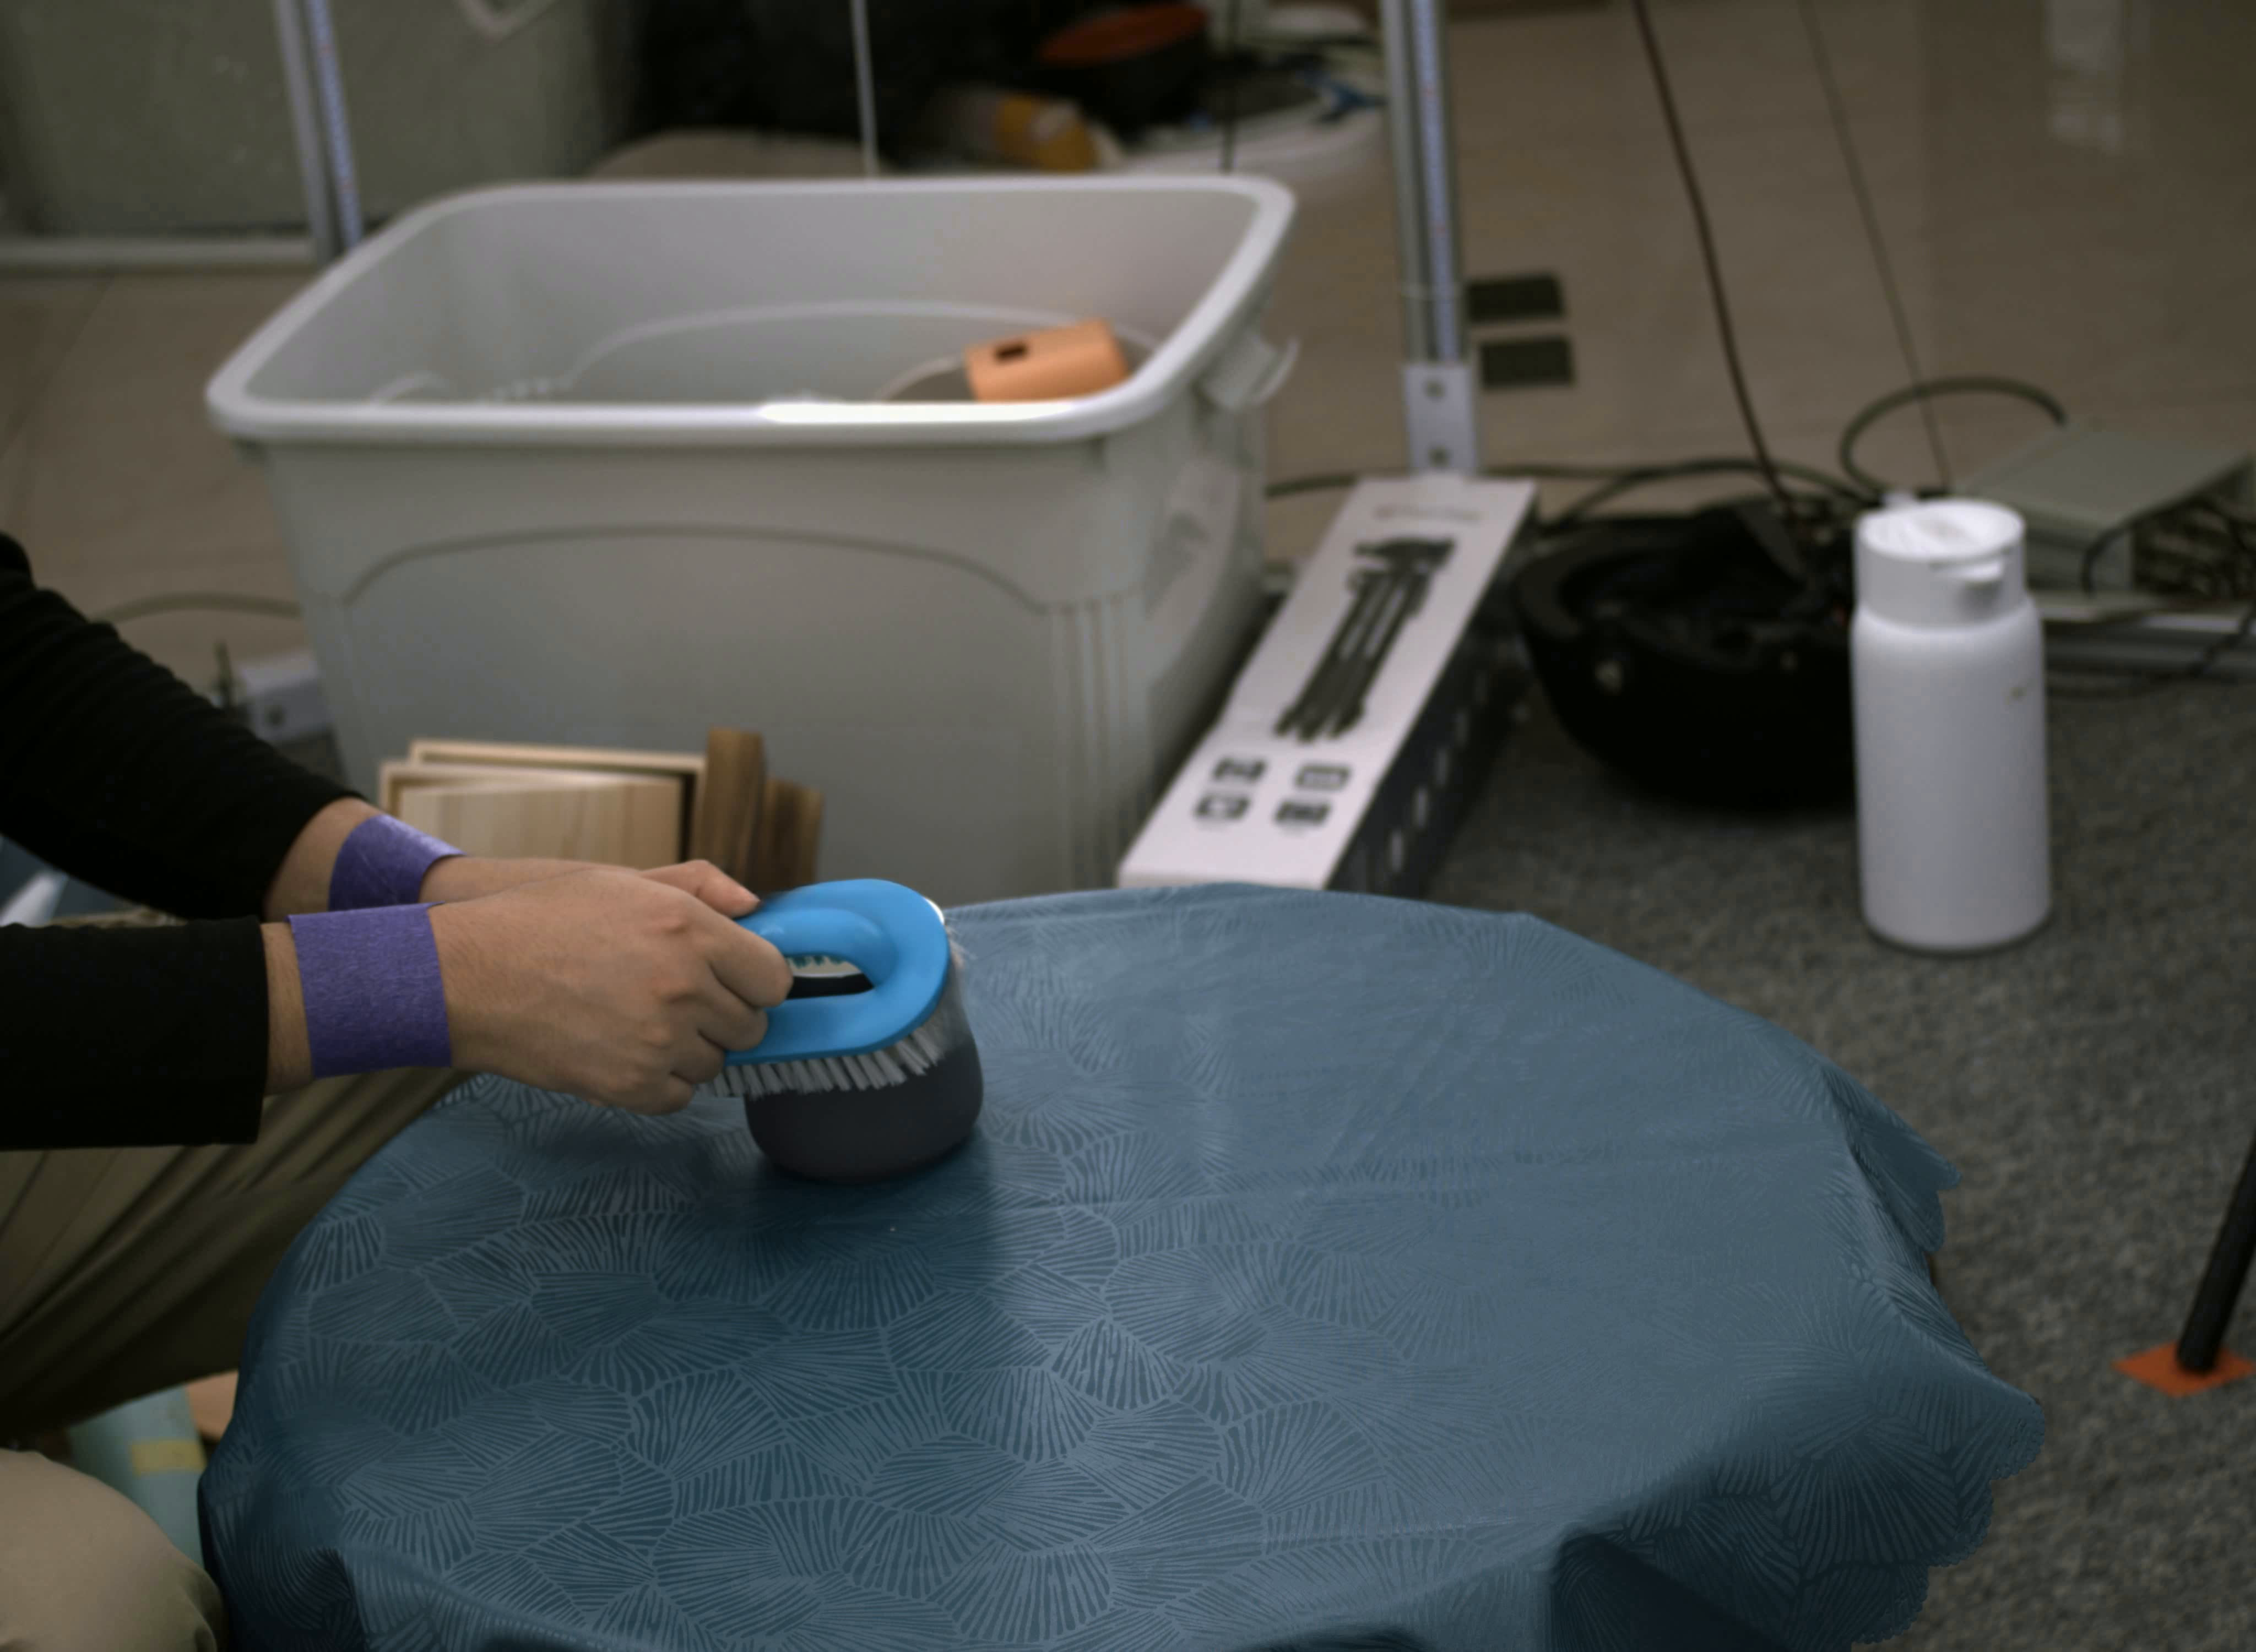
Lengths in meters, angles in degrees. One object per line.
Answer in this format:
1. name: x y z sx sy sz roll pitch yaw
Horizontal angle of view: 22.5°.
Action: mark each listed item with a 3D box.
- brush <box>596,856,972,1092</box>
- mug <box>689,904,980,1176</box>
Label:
1. brush: -0.134 0.050 2.134 0.141 0.064 0.083 -3 66 16
2. mug: -0.120 0.078 2.194 0.123 0.091 0.092 4 27 18
